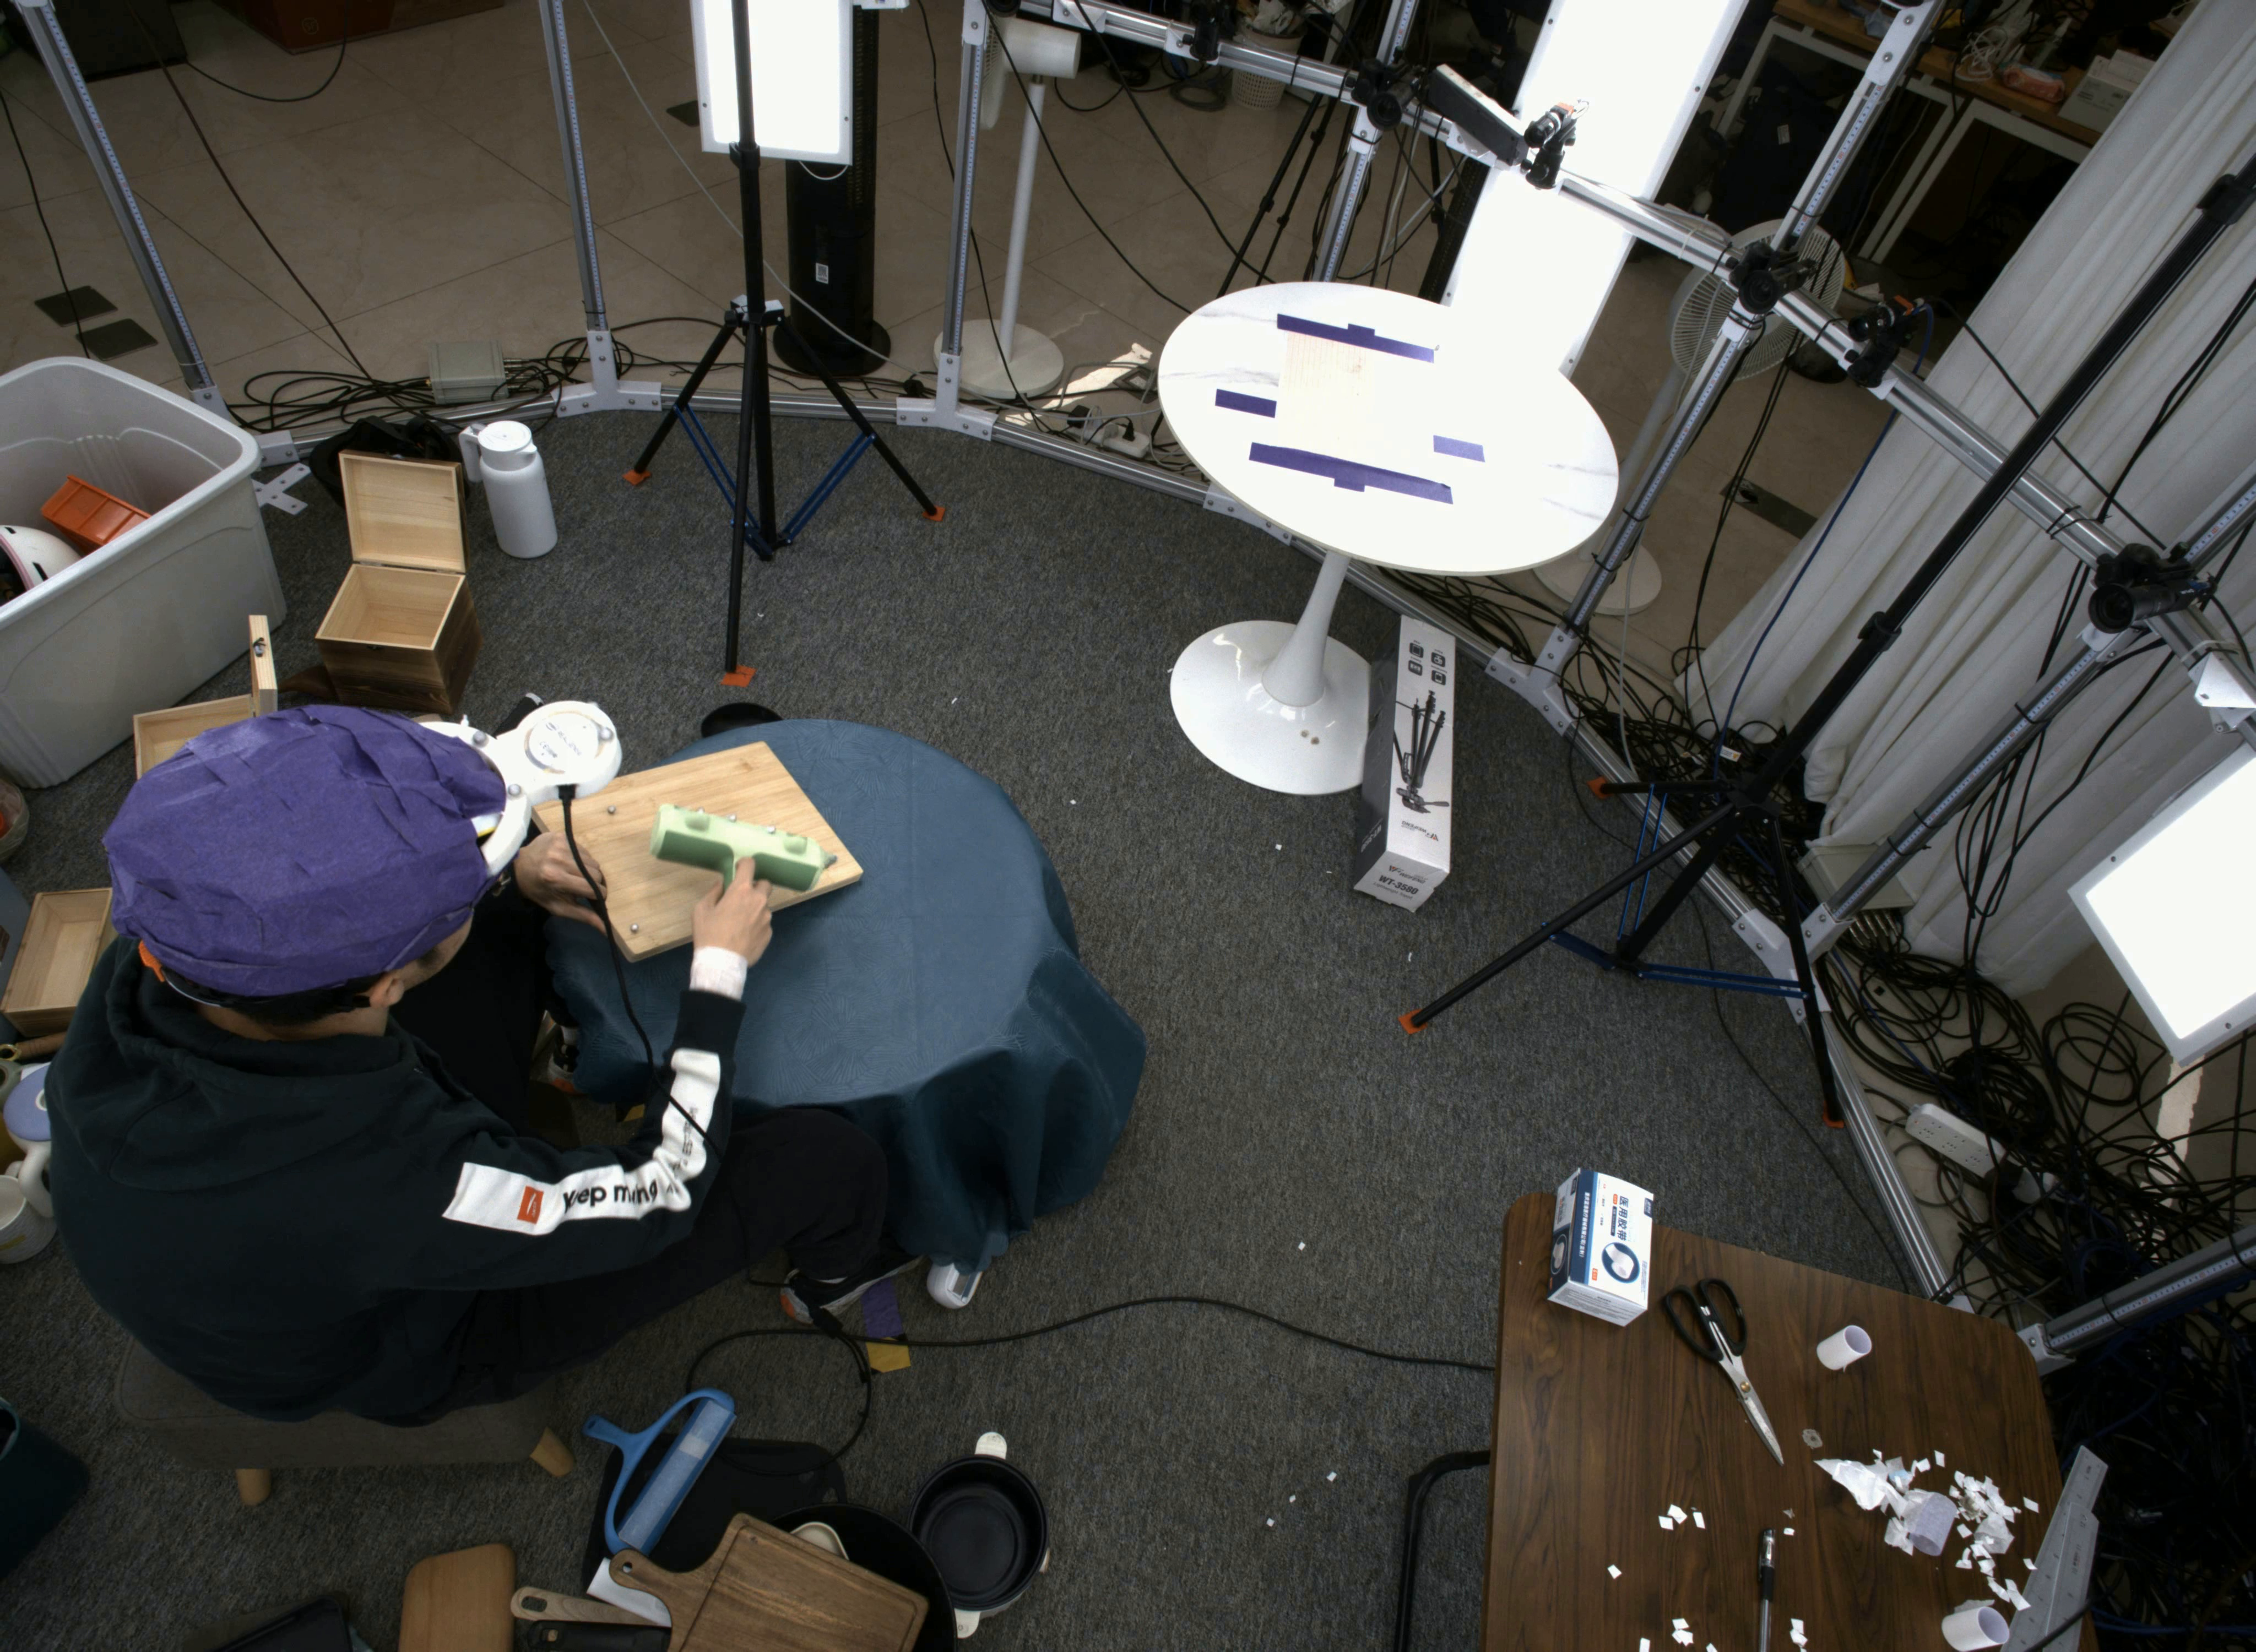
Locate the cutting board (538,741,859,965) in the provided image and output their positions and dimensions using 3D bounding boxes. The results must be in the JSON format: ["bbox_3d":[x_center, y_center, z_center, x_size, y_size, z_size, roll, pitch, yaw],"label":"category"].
[{"bbox_3d":[-0.530,0.020,1.587,0.247,0.024,0.352,50,38,14],"label":"cutting board"}]

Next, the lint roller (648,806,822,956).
[{"bbox_3d":[-0.441,0.057,1.461,0.203,0.083,0.178,17,32,-29],"label":"lint roller"}]
